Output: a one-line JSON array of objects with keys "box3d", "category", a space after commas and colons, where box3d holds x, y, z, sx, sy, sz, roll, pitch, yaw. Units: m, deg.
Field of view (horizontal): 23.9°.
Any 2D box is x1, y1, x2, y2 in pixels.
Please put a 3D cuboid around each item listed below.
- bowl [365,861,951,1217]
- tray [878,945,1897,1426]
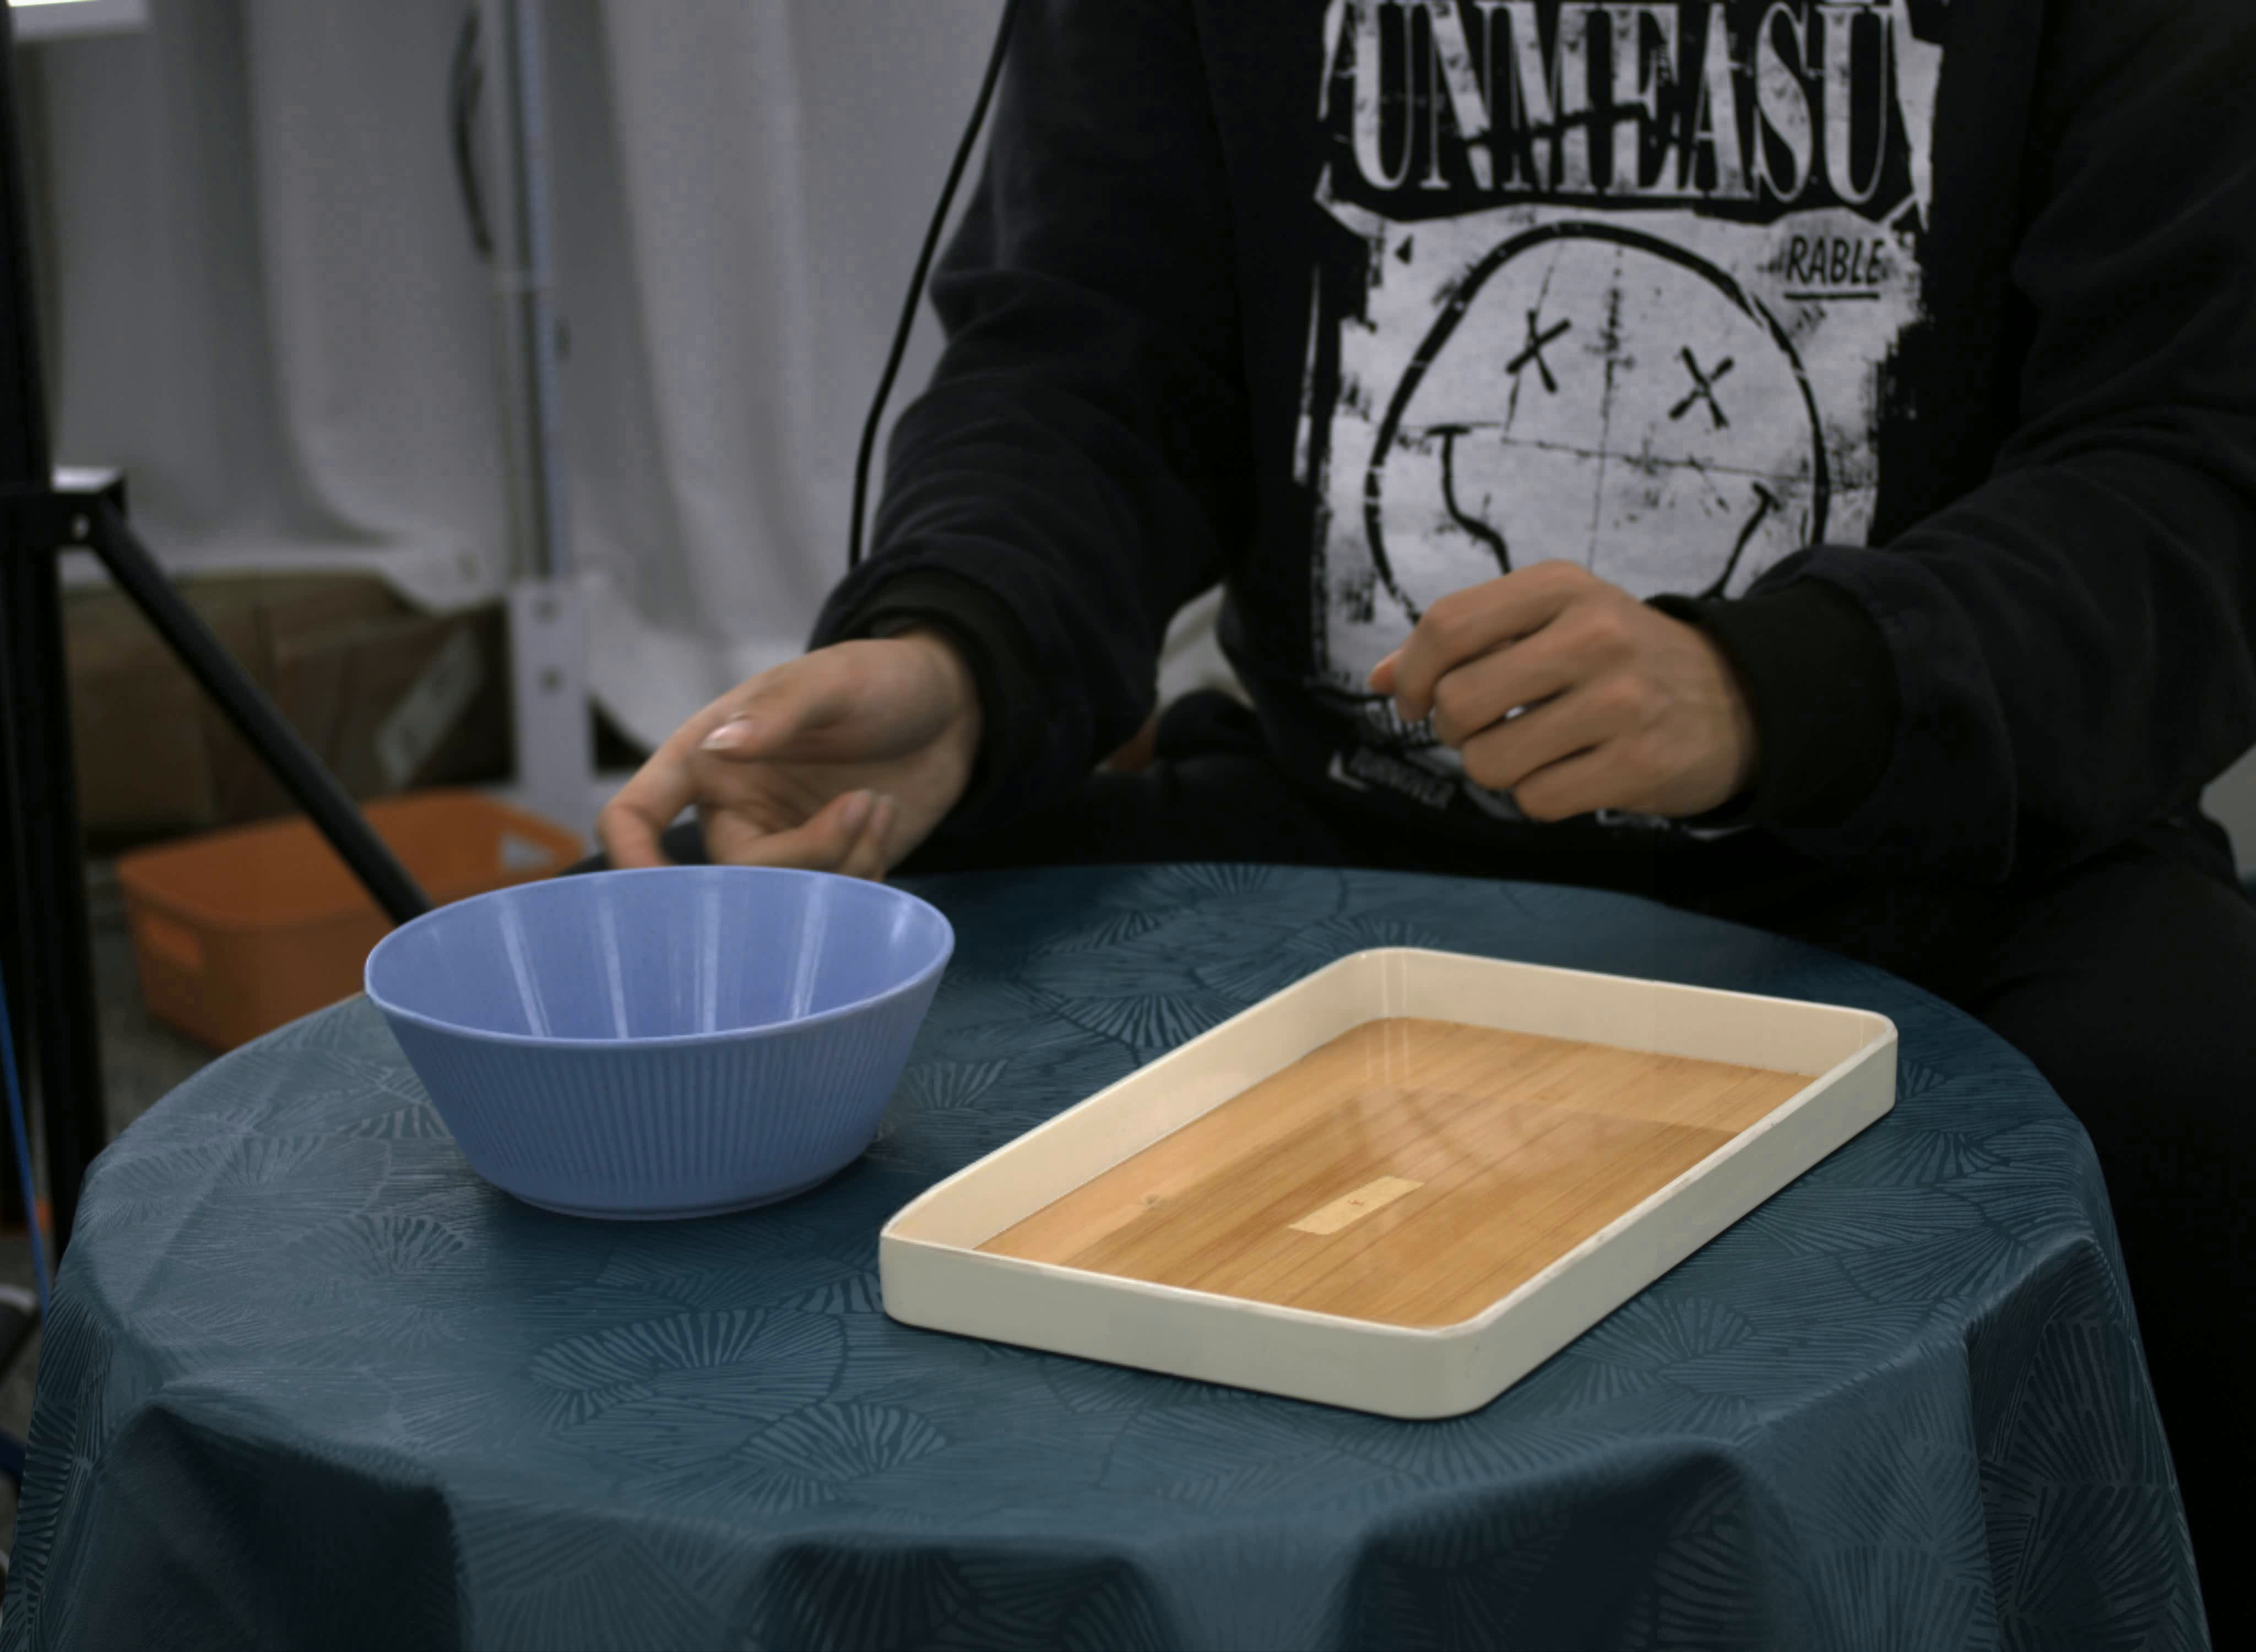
[{"box3d": [-0.139, 0.066, 1.598, 0.175, 0.070, 0.177, -2, 17, -1], "category": "bowl"}, {"box3d": [0.082, 0.098, 1.532, 0.195, 0.027, 0.295, 8, 19, 31], "category": "tray"}]
